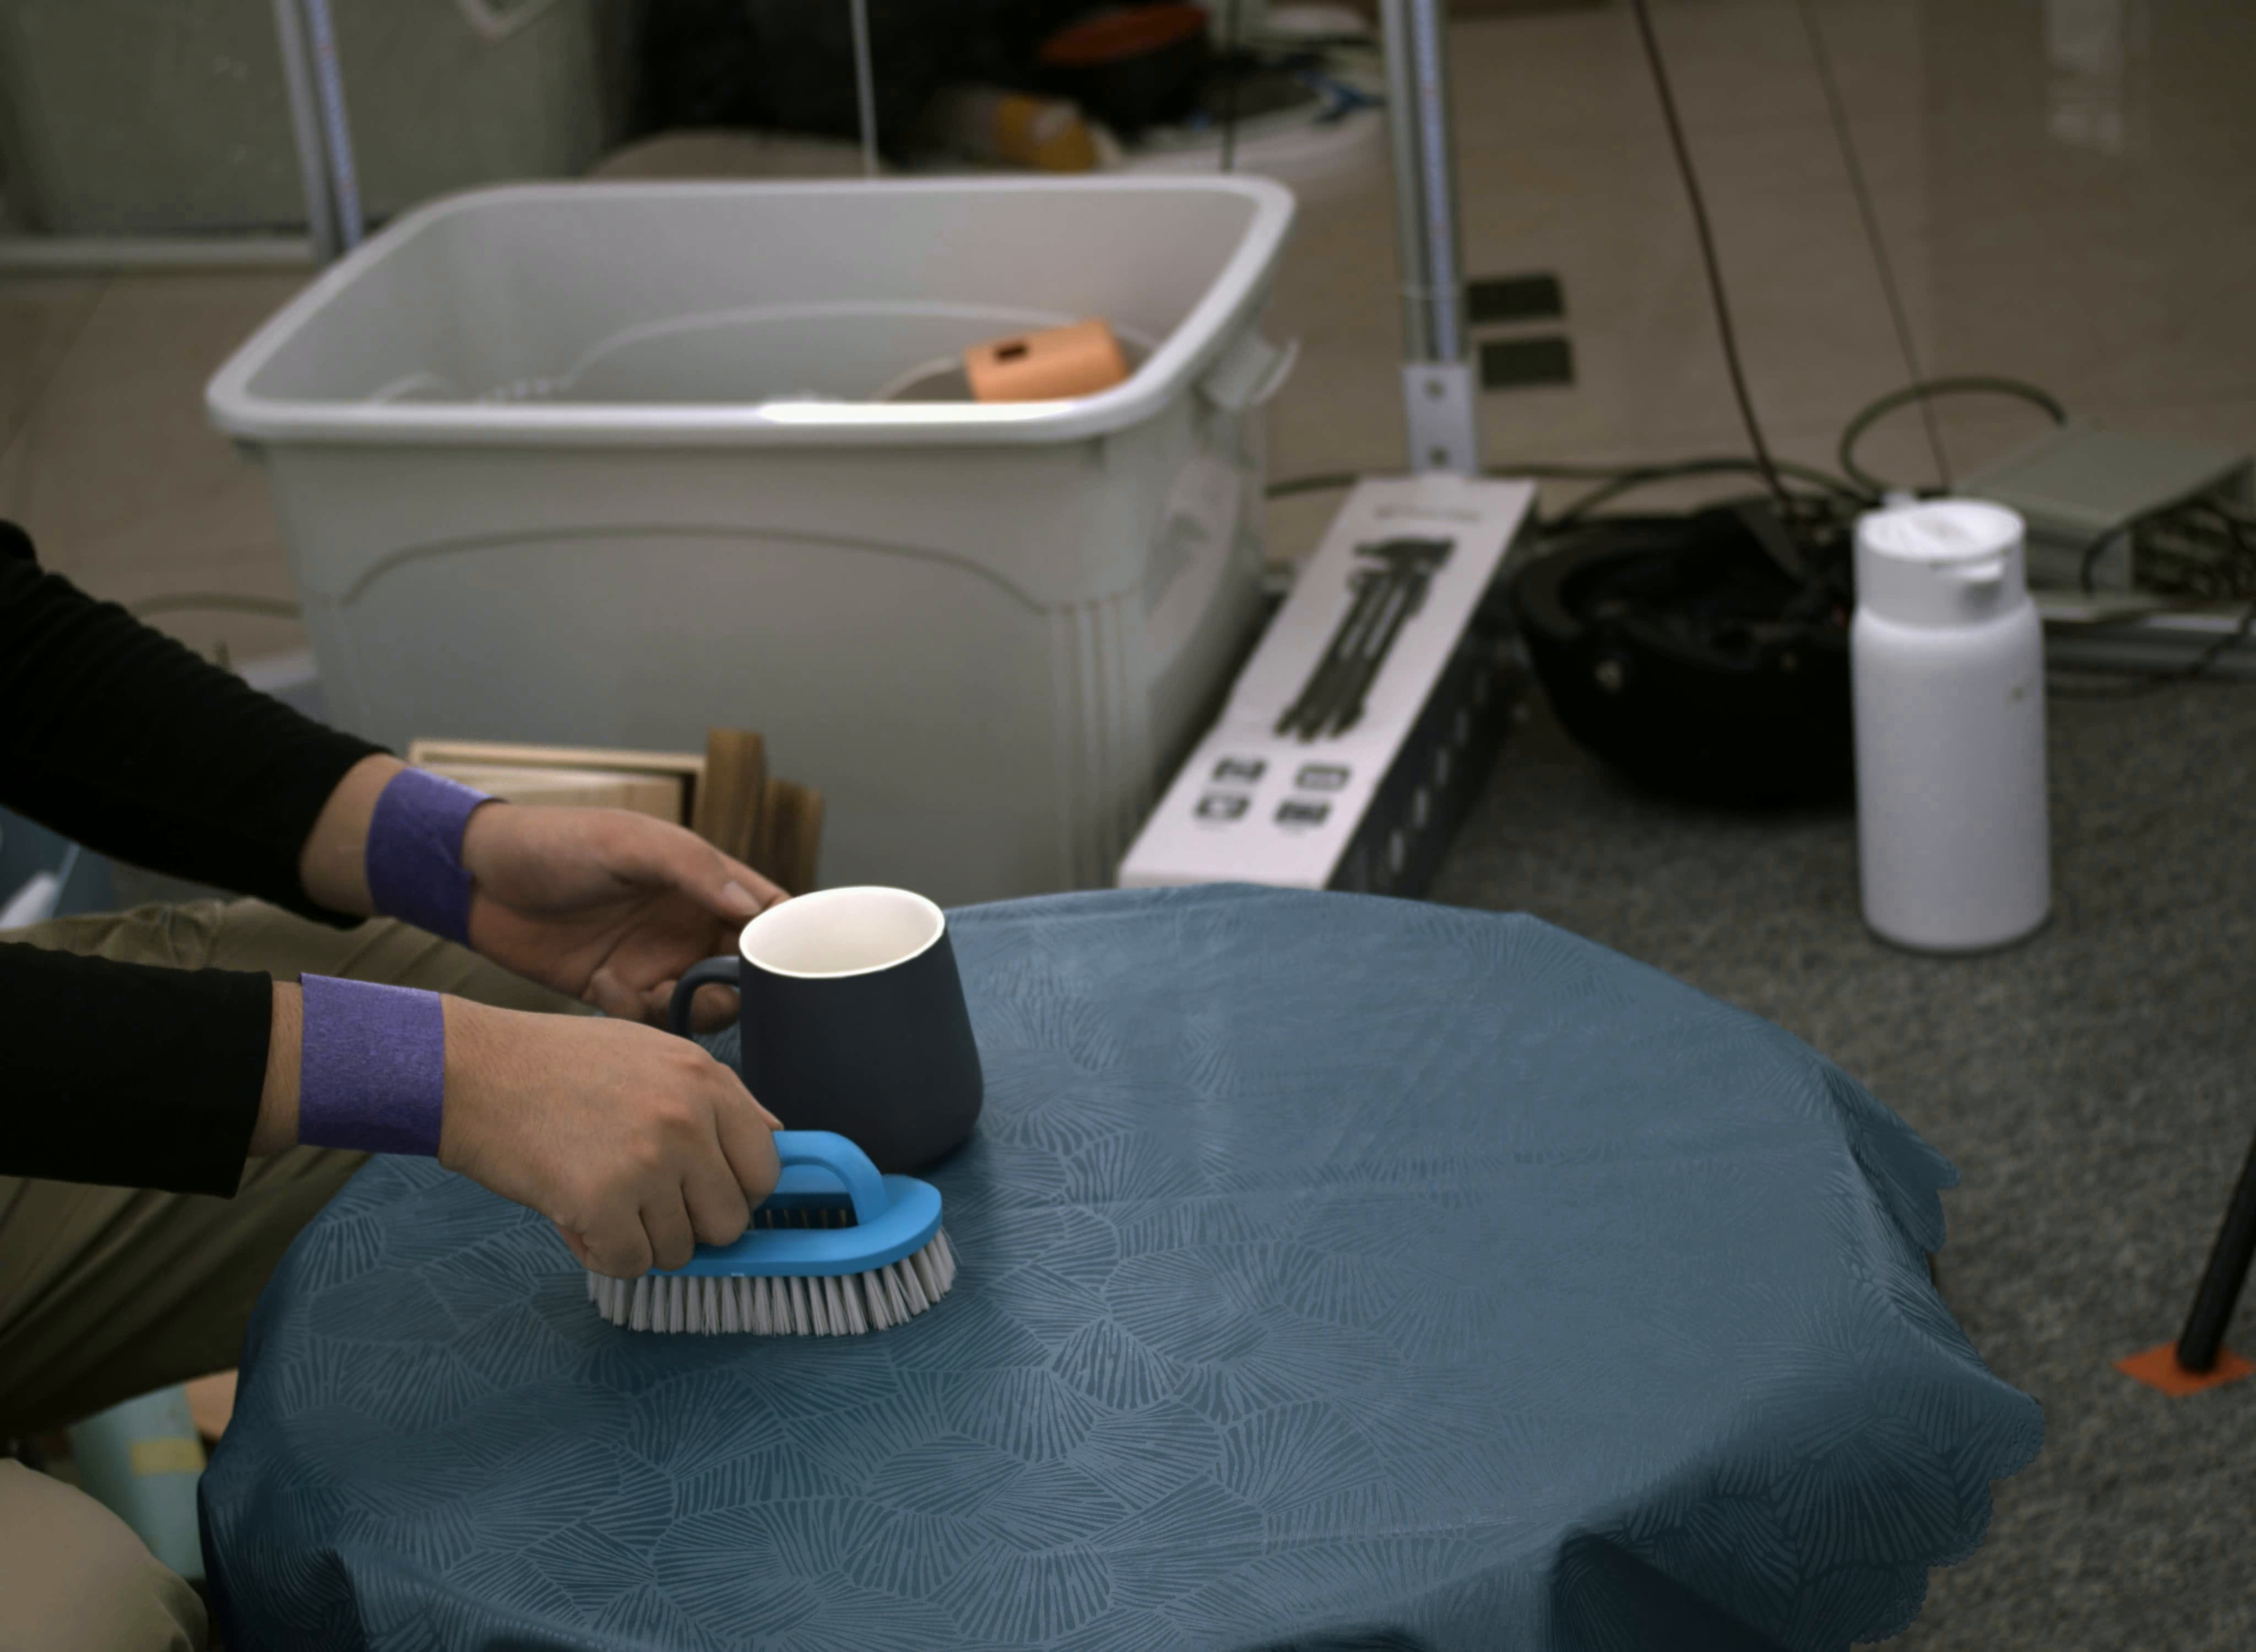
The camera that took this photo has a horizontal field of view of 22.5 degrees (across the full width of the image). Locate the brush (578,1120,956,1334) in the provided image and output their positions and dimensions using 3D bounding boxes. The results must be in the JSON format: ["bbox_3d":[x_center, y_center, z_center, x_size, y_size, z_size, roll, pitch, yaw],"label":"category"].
[{"bbox_3d":[-0.137,0.140,2.099,0.141,0.065,0.083,-1,30,15],"label":"brush"}]

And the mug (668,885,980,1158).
[{"bbox_3d":[-0.120,0.078,2.193,0.123,0.091,0.092,4,27,18],"label":"mug"}]
